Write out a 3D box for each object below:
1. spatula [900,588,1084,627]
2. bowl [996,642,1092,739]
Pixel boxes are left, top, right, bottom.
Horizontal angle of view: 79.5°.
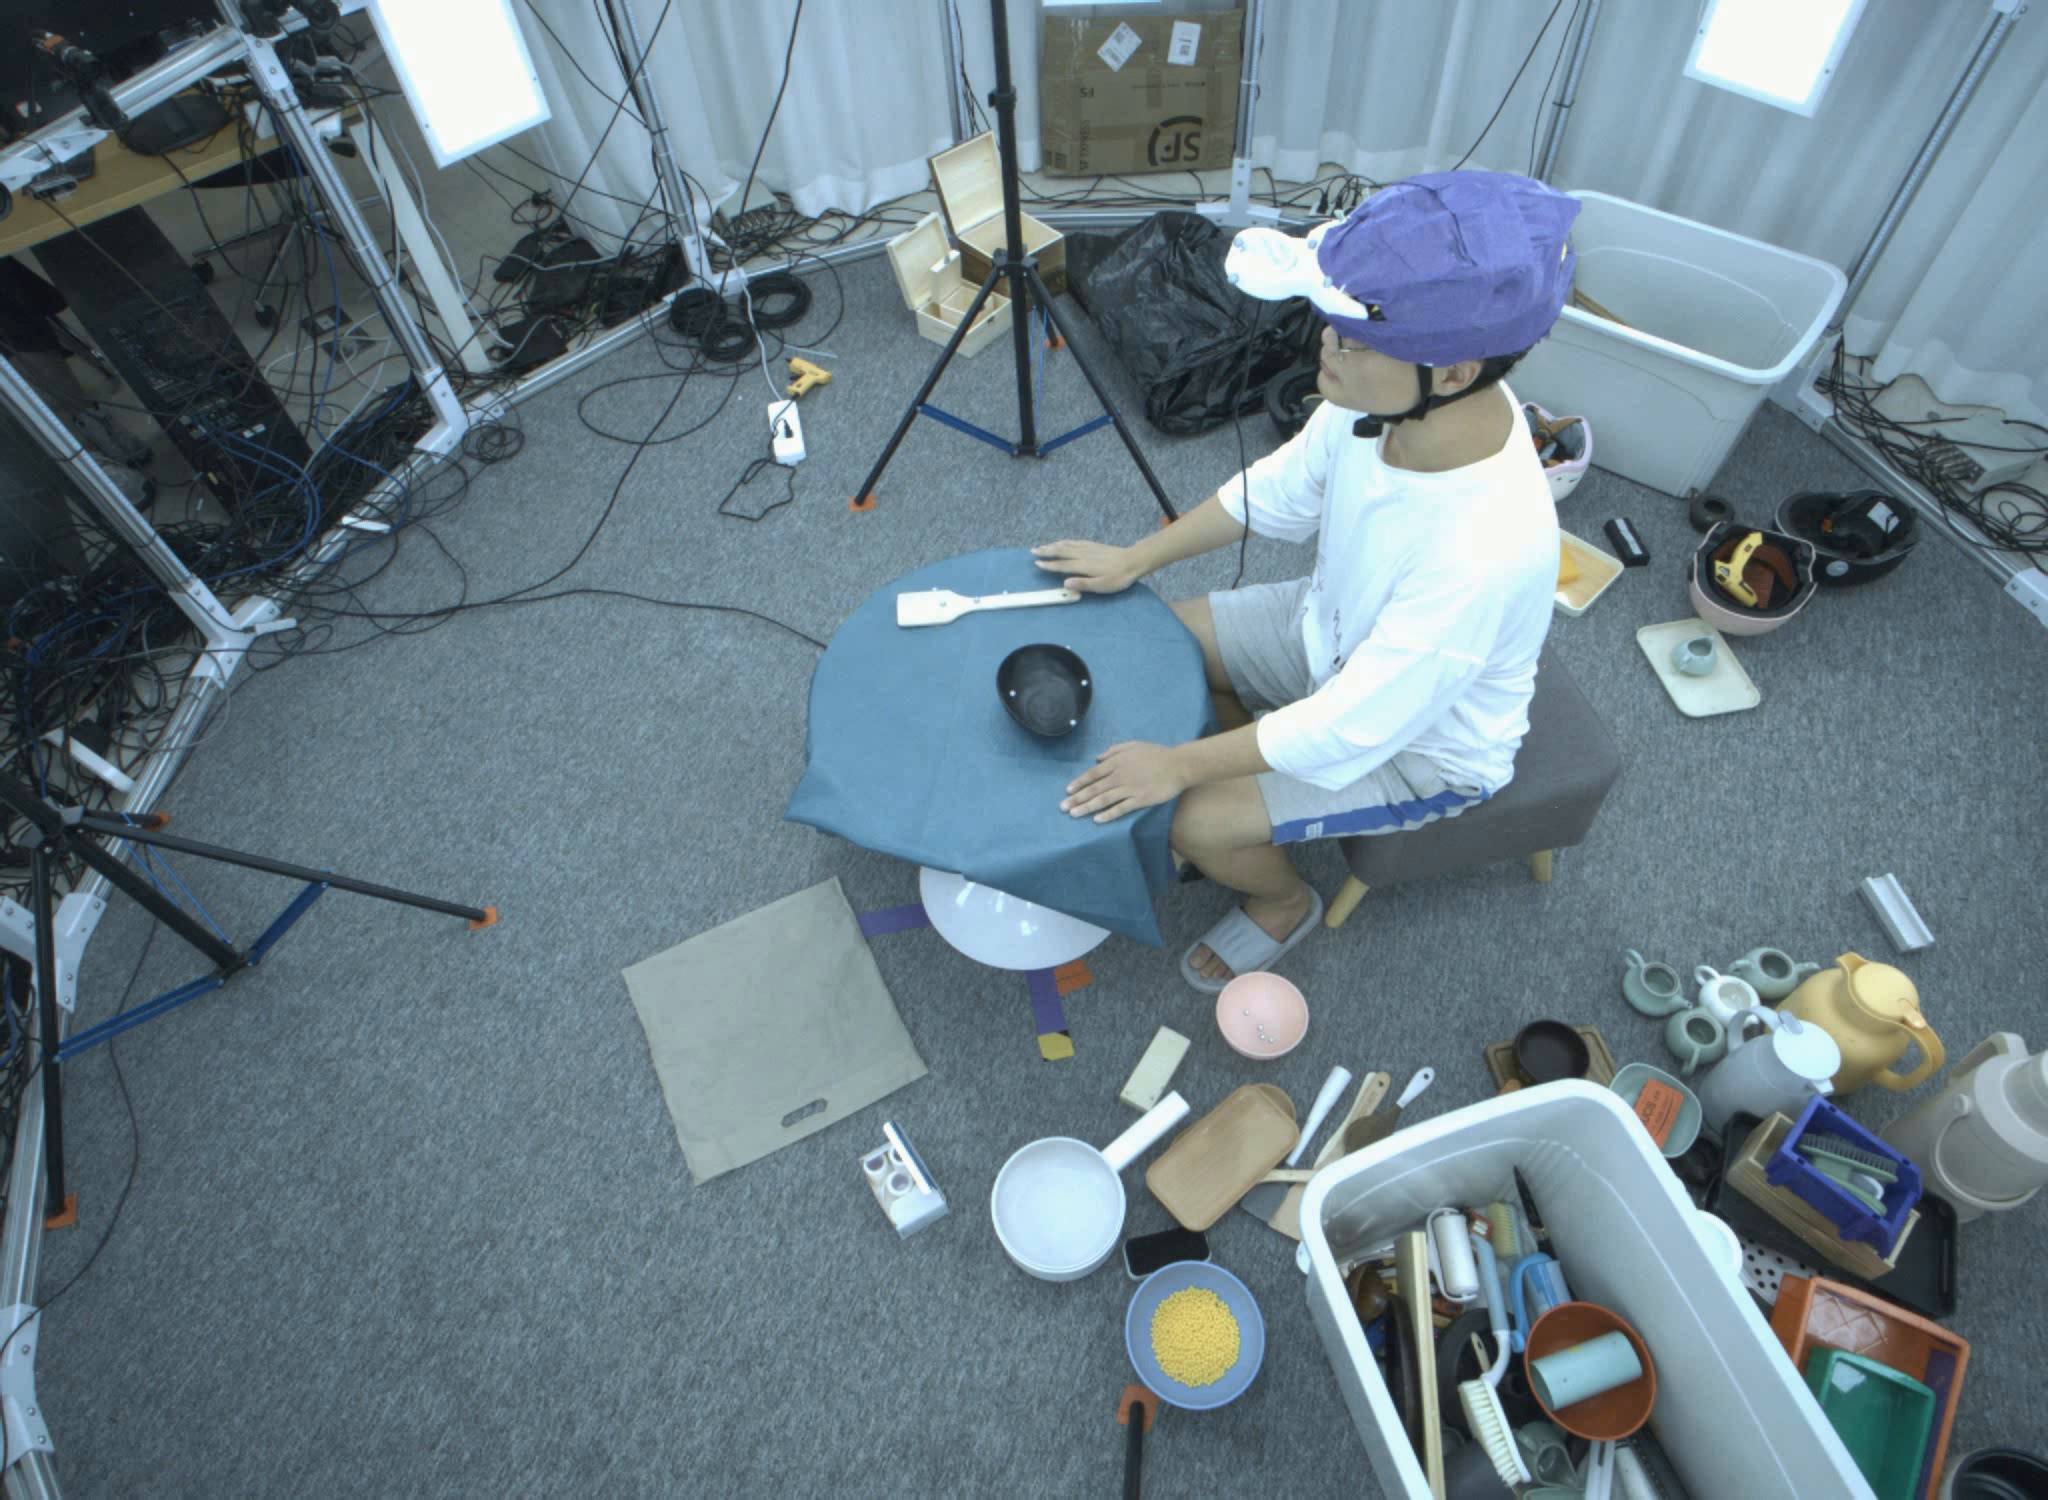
[{"bbox_3d":[-0.052,-0.235,1.948,0.293,0.011,0.071,-5,53,-2],"label":"spatula"},{"bbox_3d":[0.031,-0.079,1.801,0.138,0.067,0.167,-16,58,-10],"label":"bowl"}]
